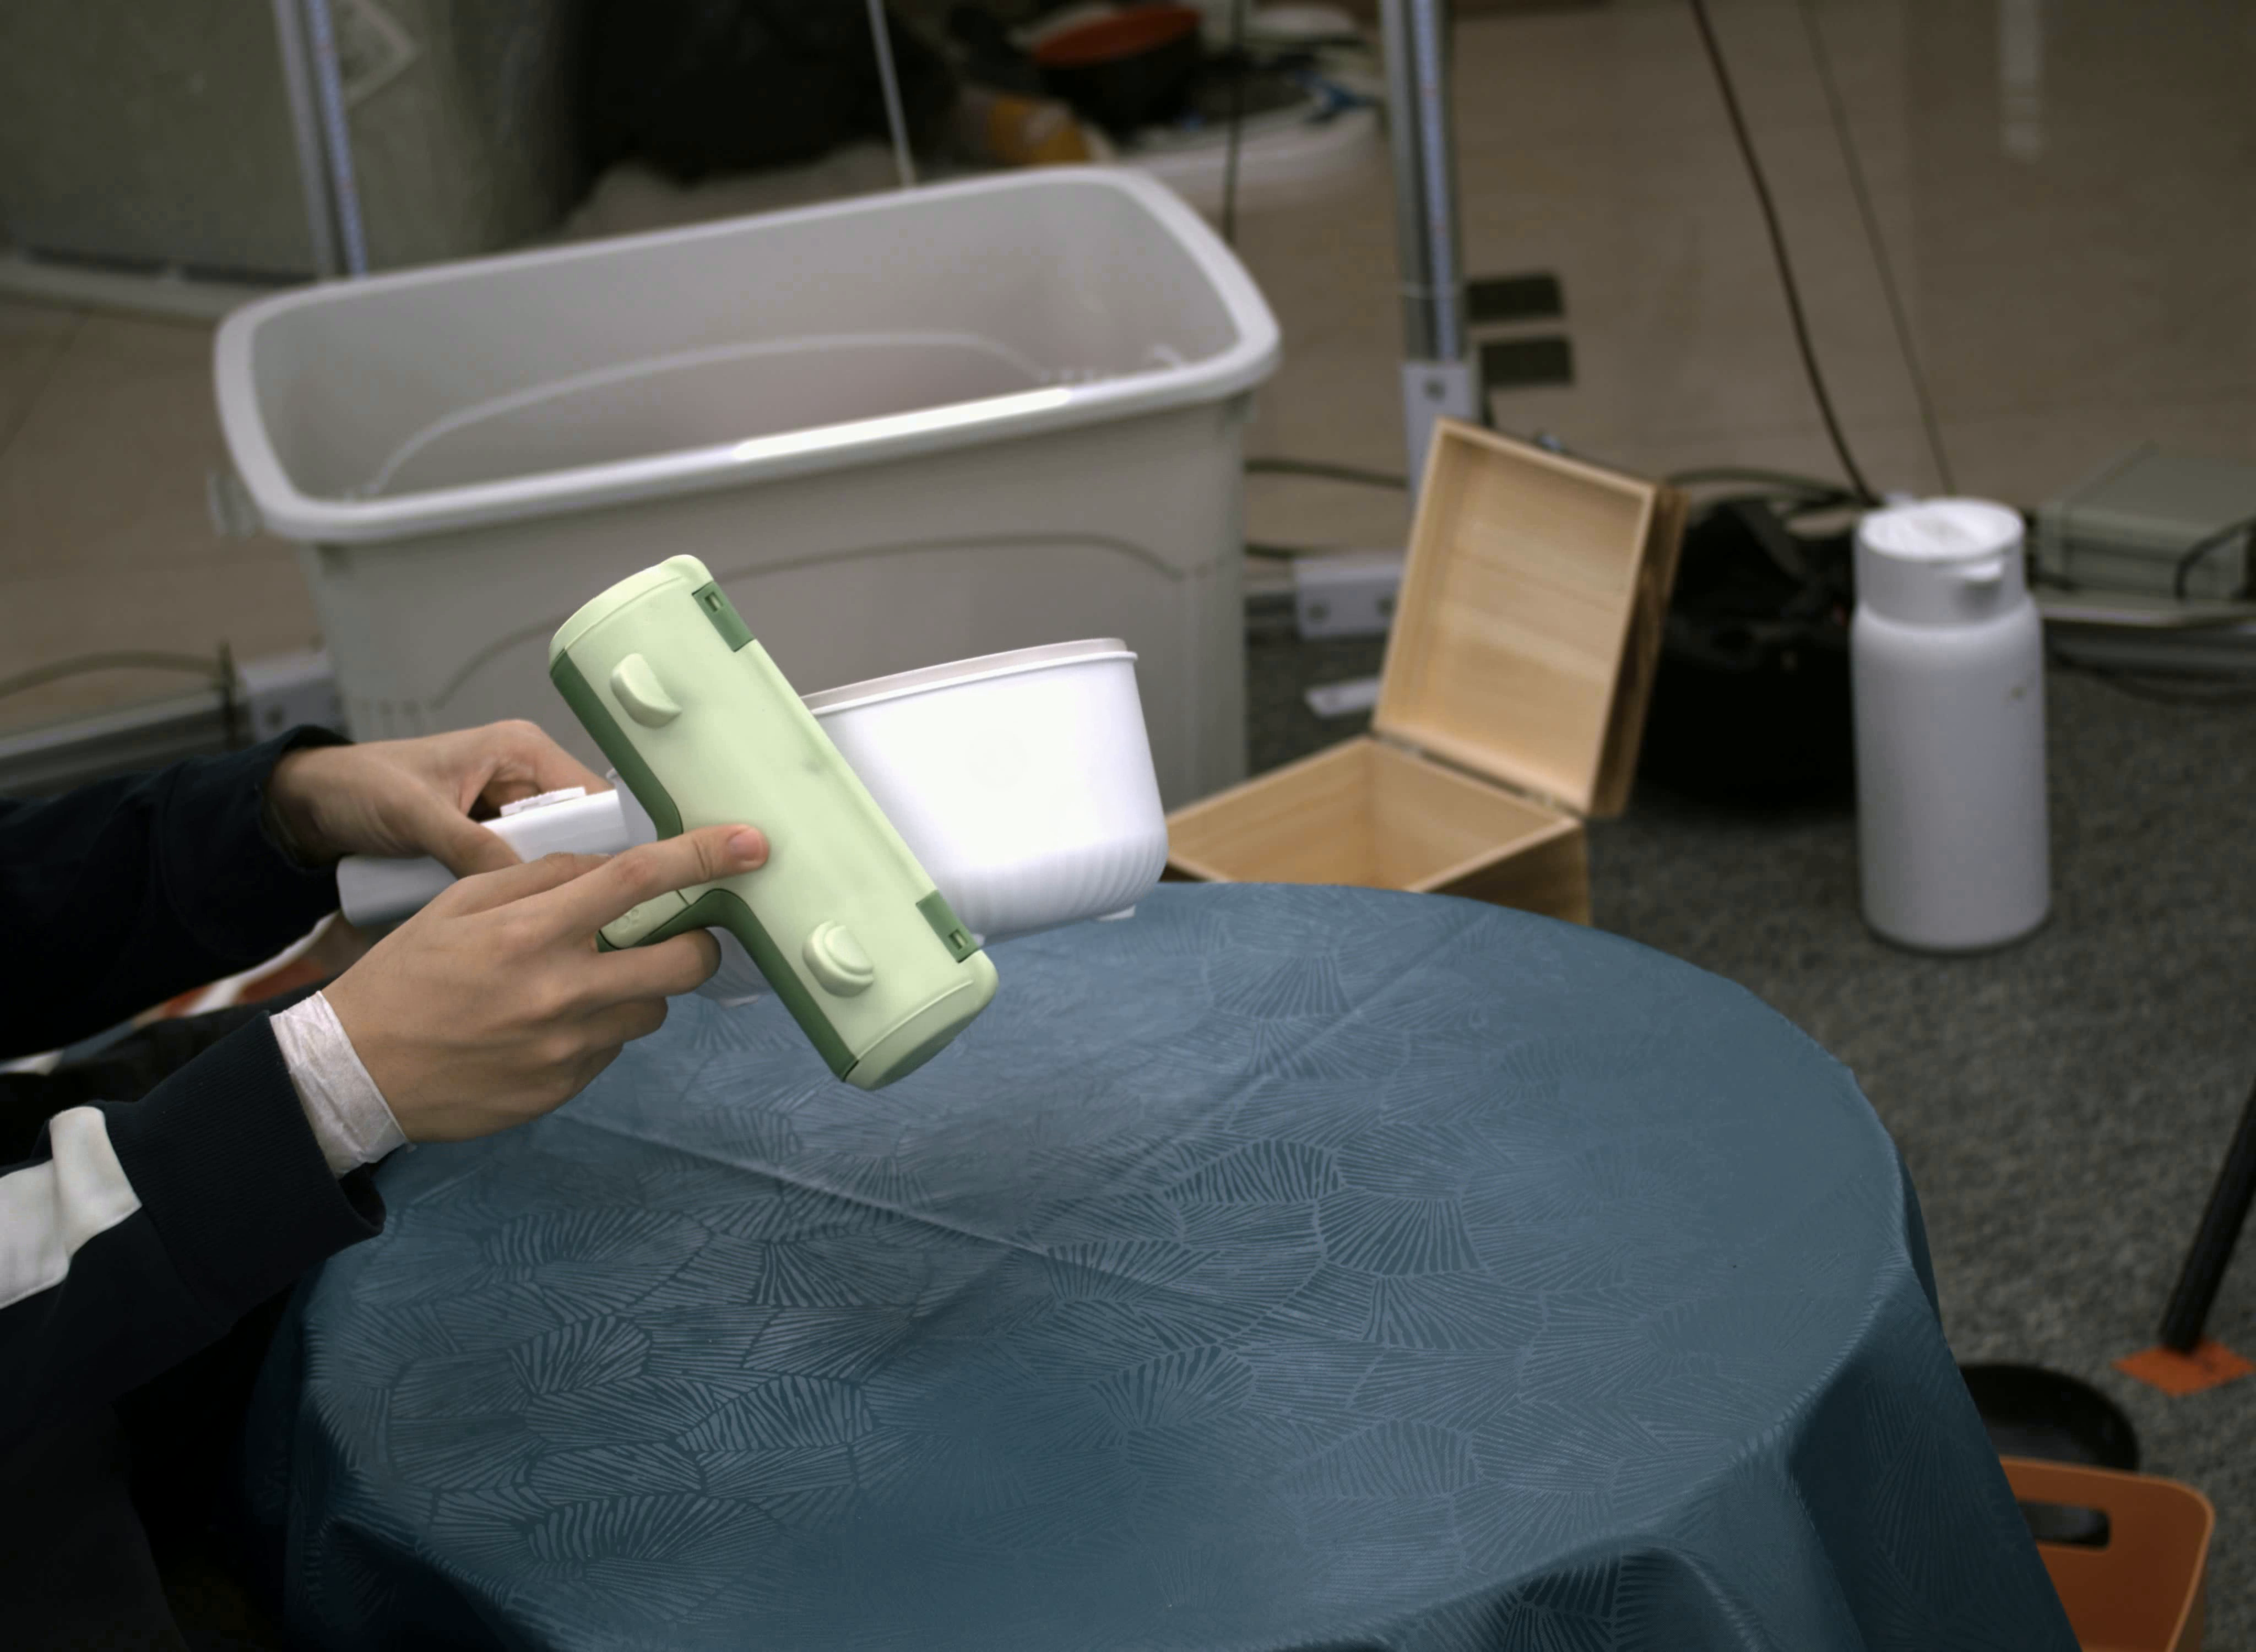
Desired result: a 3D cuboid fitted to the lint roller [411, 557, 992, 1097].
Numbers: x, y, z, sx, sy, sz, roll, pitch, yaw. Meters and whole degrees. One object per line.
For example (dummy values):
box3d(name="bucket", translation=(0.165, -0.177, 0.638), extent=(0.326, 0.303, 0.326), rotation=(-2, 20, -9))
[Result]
box3d(name="lint roller", translation=(-0.174, 0.032, 1.958), extent=(0.183, 0.198, 0.082), rotation=(-35, -6, -6))

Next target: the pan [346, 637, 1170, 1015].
box3d(name="pan", translation=(-0.146, 0.020, 2.135), extent=(0.356, 0.102, 0.200), rotation=(-15, -2, 33))
